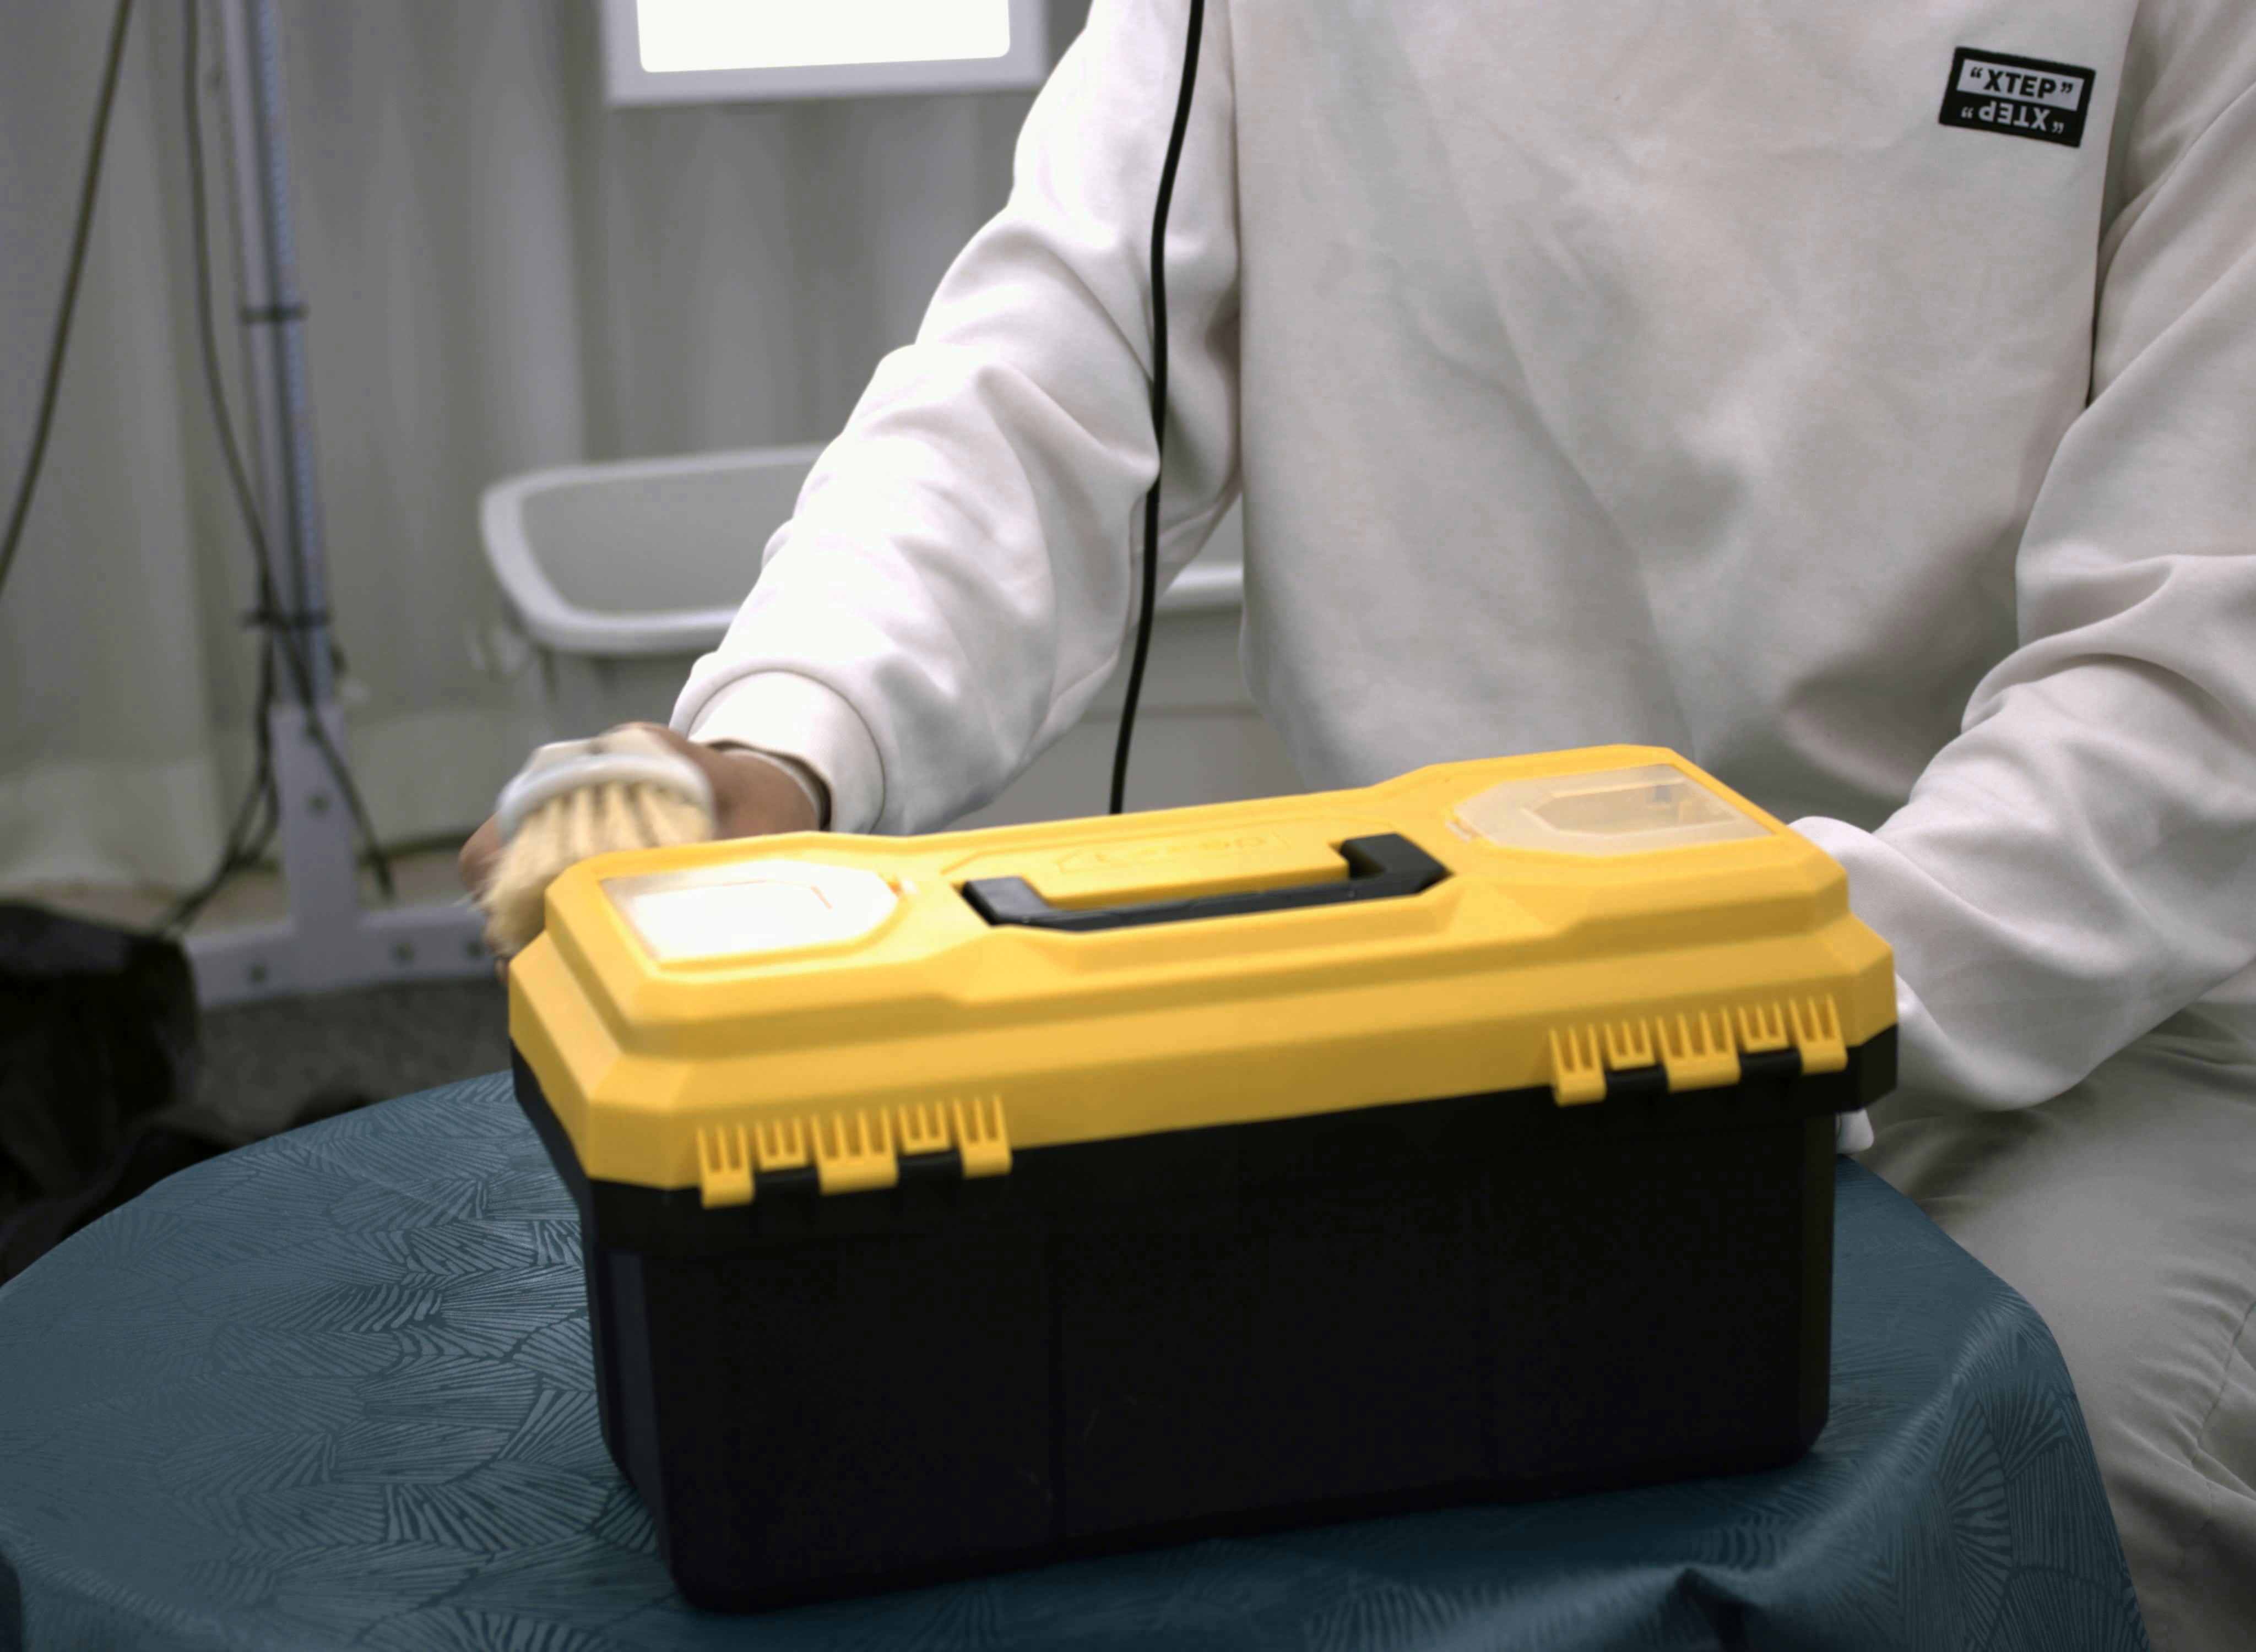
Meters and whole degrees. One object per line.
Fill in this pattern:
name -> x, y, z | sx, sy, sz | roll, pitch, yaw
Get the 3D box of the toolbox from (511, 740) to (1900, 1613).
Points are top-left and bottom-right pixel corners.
toolbox -> 0.019, 0.090, 1.473 | 0.350, 0.172, 0.183 | -6, 16, -13

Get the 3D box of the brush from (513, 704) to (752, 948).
brush -> -0.142, 0.036, 1.616 | 0.068, 0.057, 0.264 | 6, -21, -2
